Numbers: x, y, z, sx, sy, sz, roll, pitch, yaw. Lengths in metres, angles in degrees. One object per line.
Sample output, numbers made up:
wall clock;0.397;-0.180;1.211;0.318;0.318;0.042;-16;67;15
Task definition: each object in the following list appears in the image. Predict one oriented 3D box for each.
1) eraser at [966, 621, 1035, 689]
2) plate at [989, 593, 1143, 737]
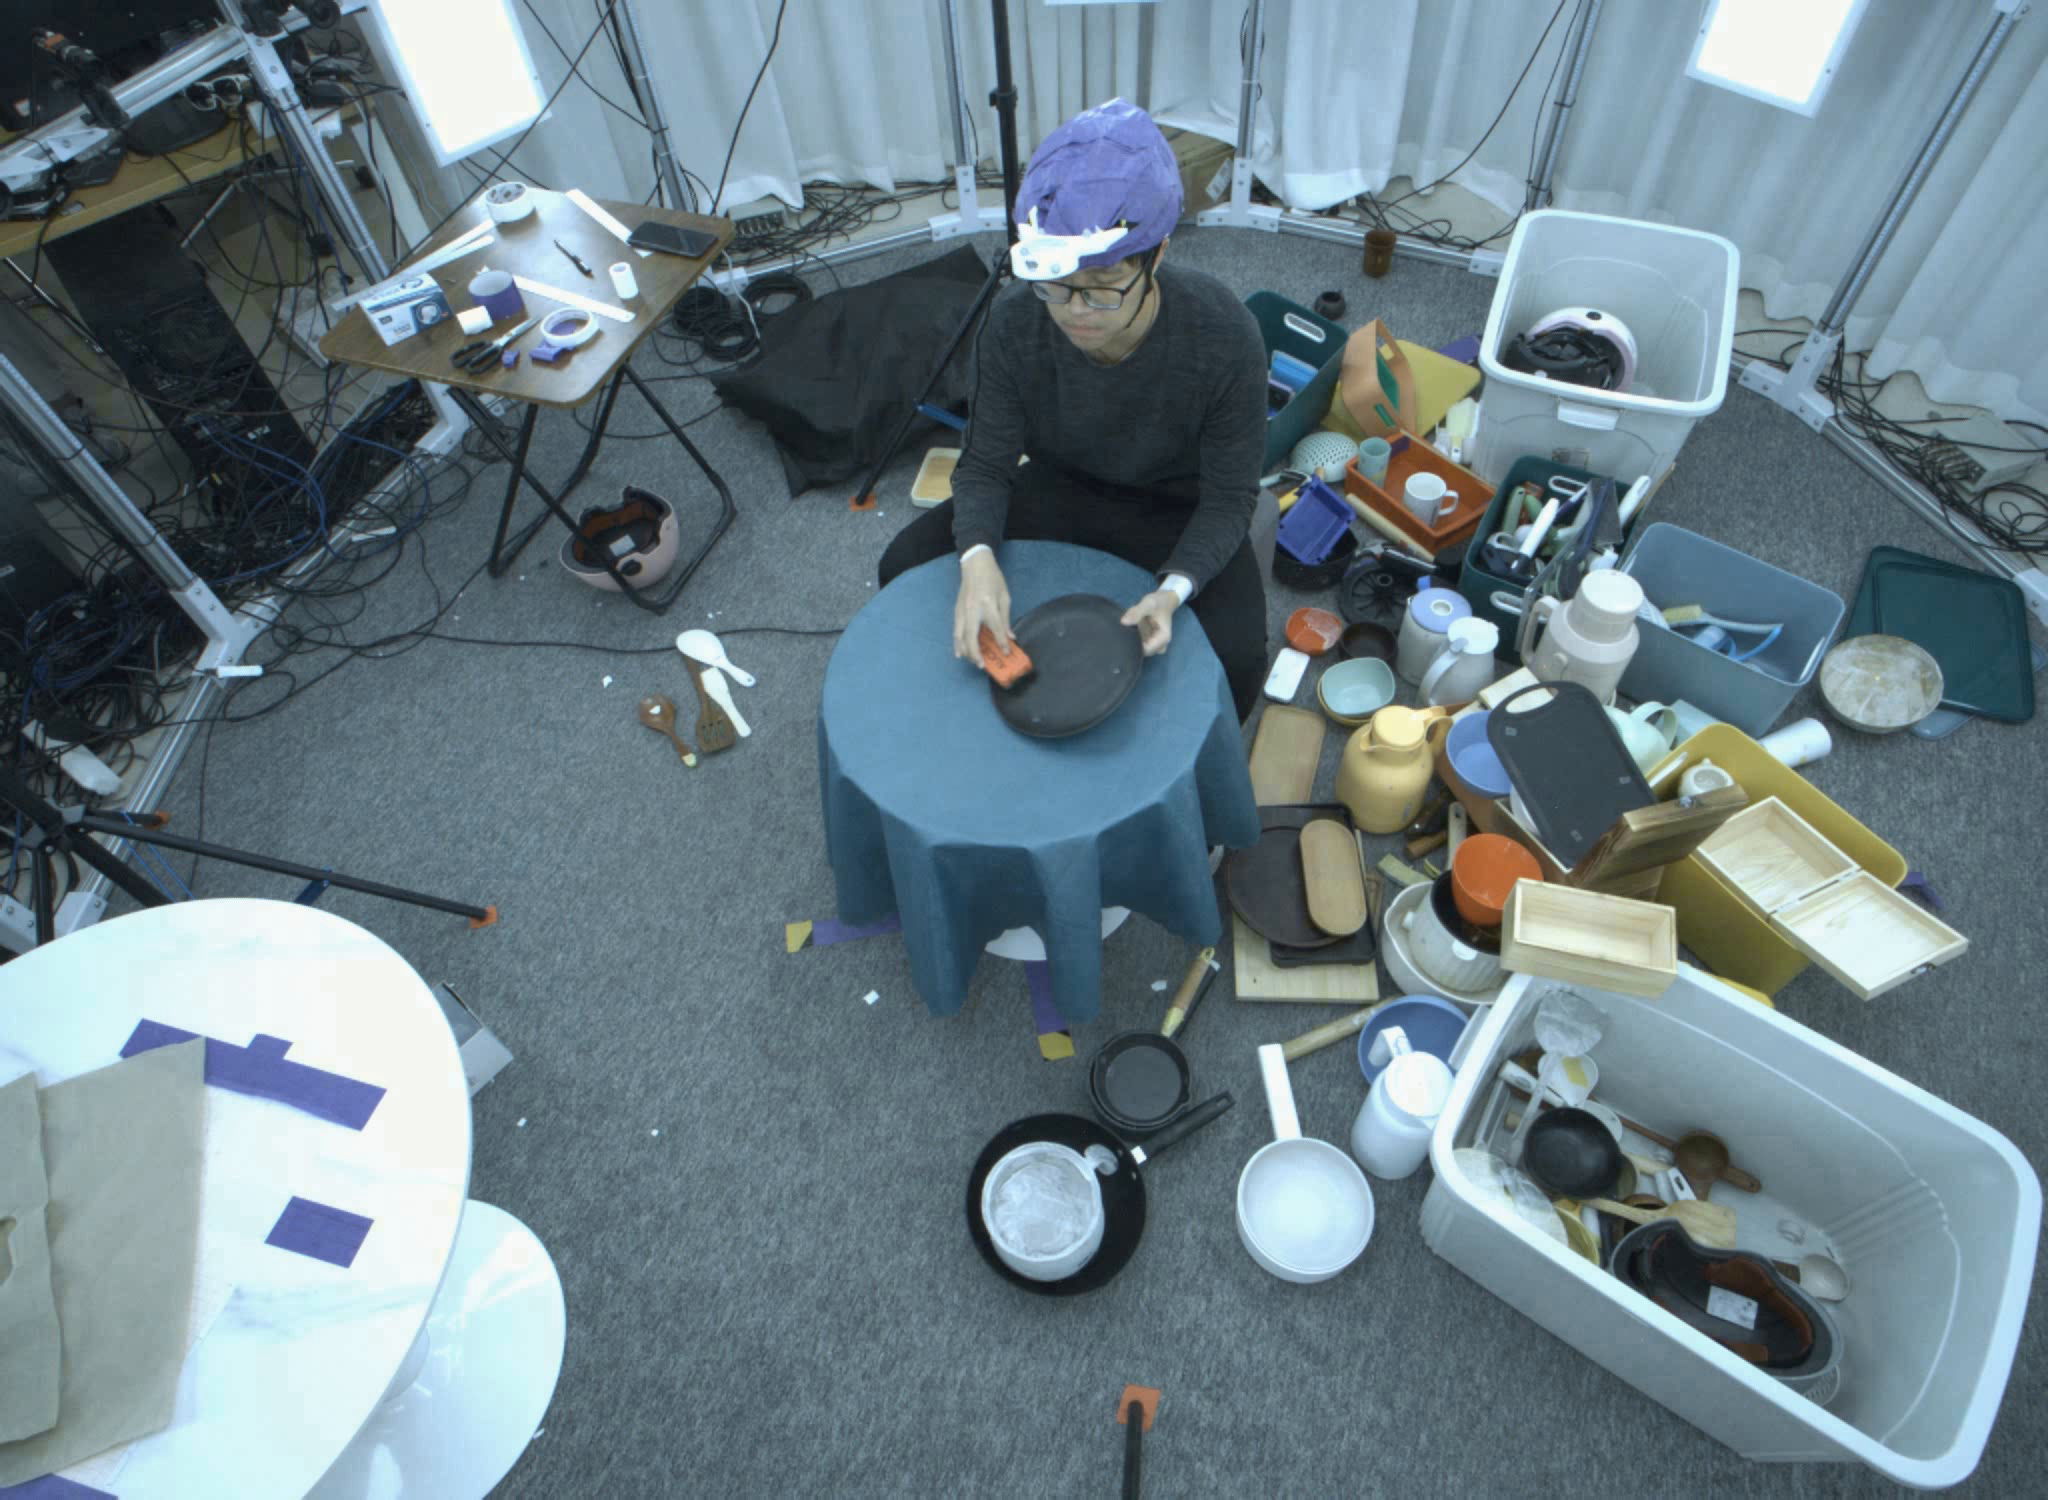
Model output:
eraser;-0.036;-0.144;1.849;0.059;0.023;0.106;-38;62;-10
plate;0.063;-0.124;1.820;0.241;0.024;0.242;-10;61;19
